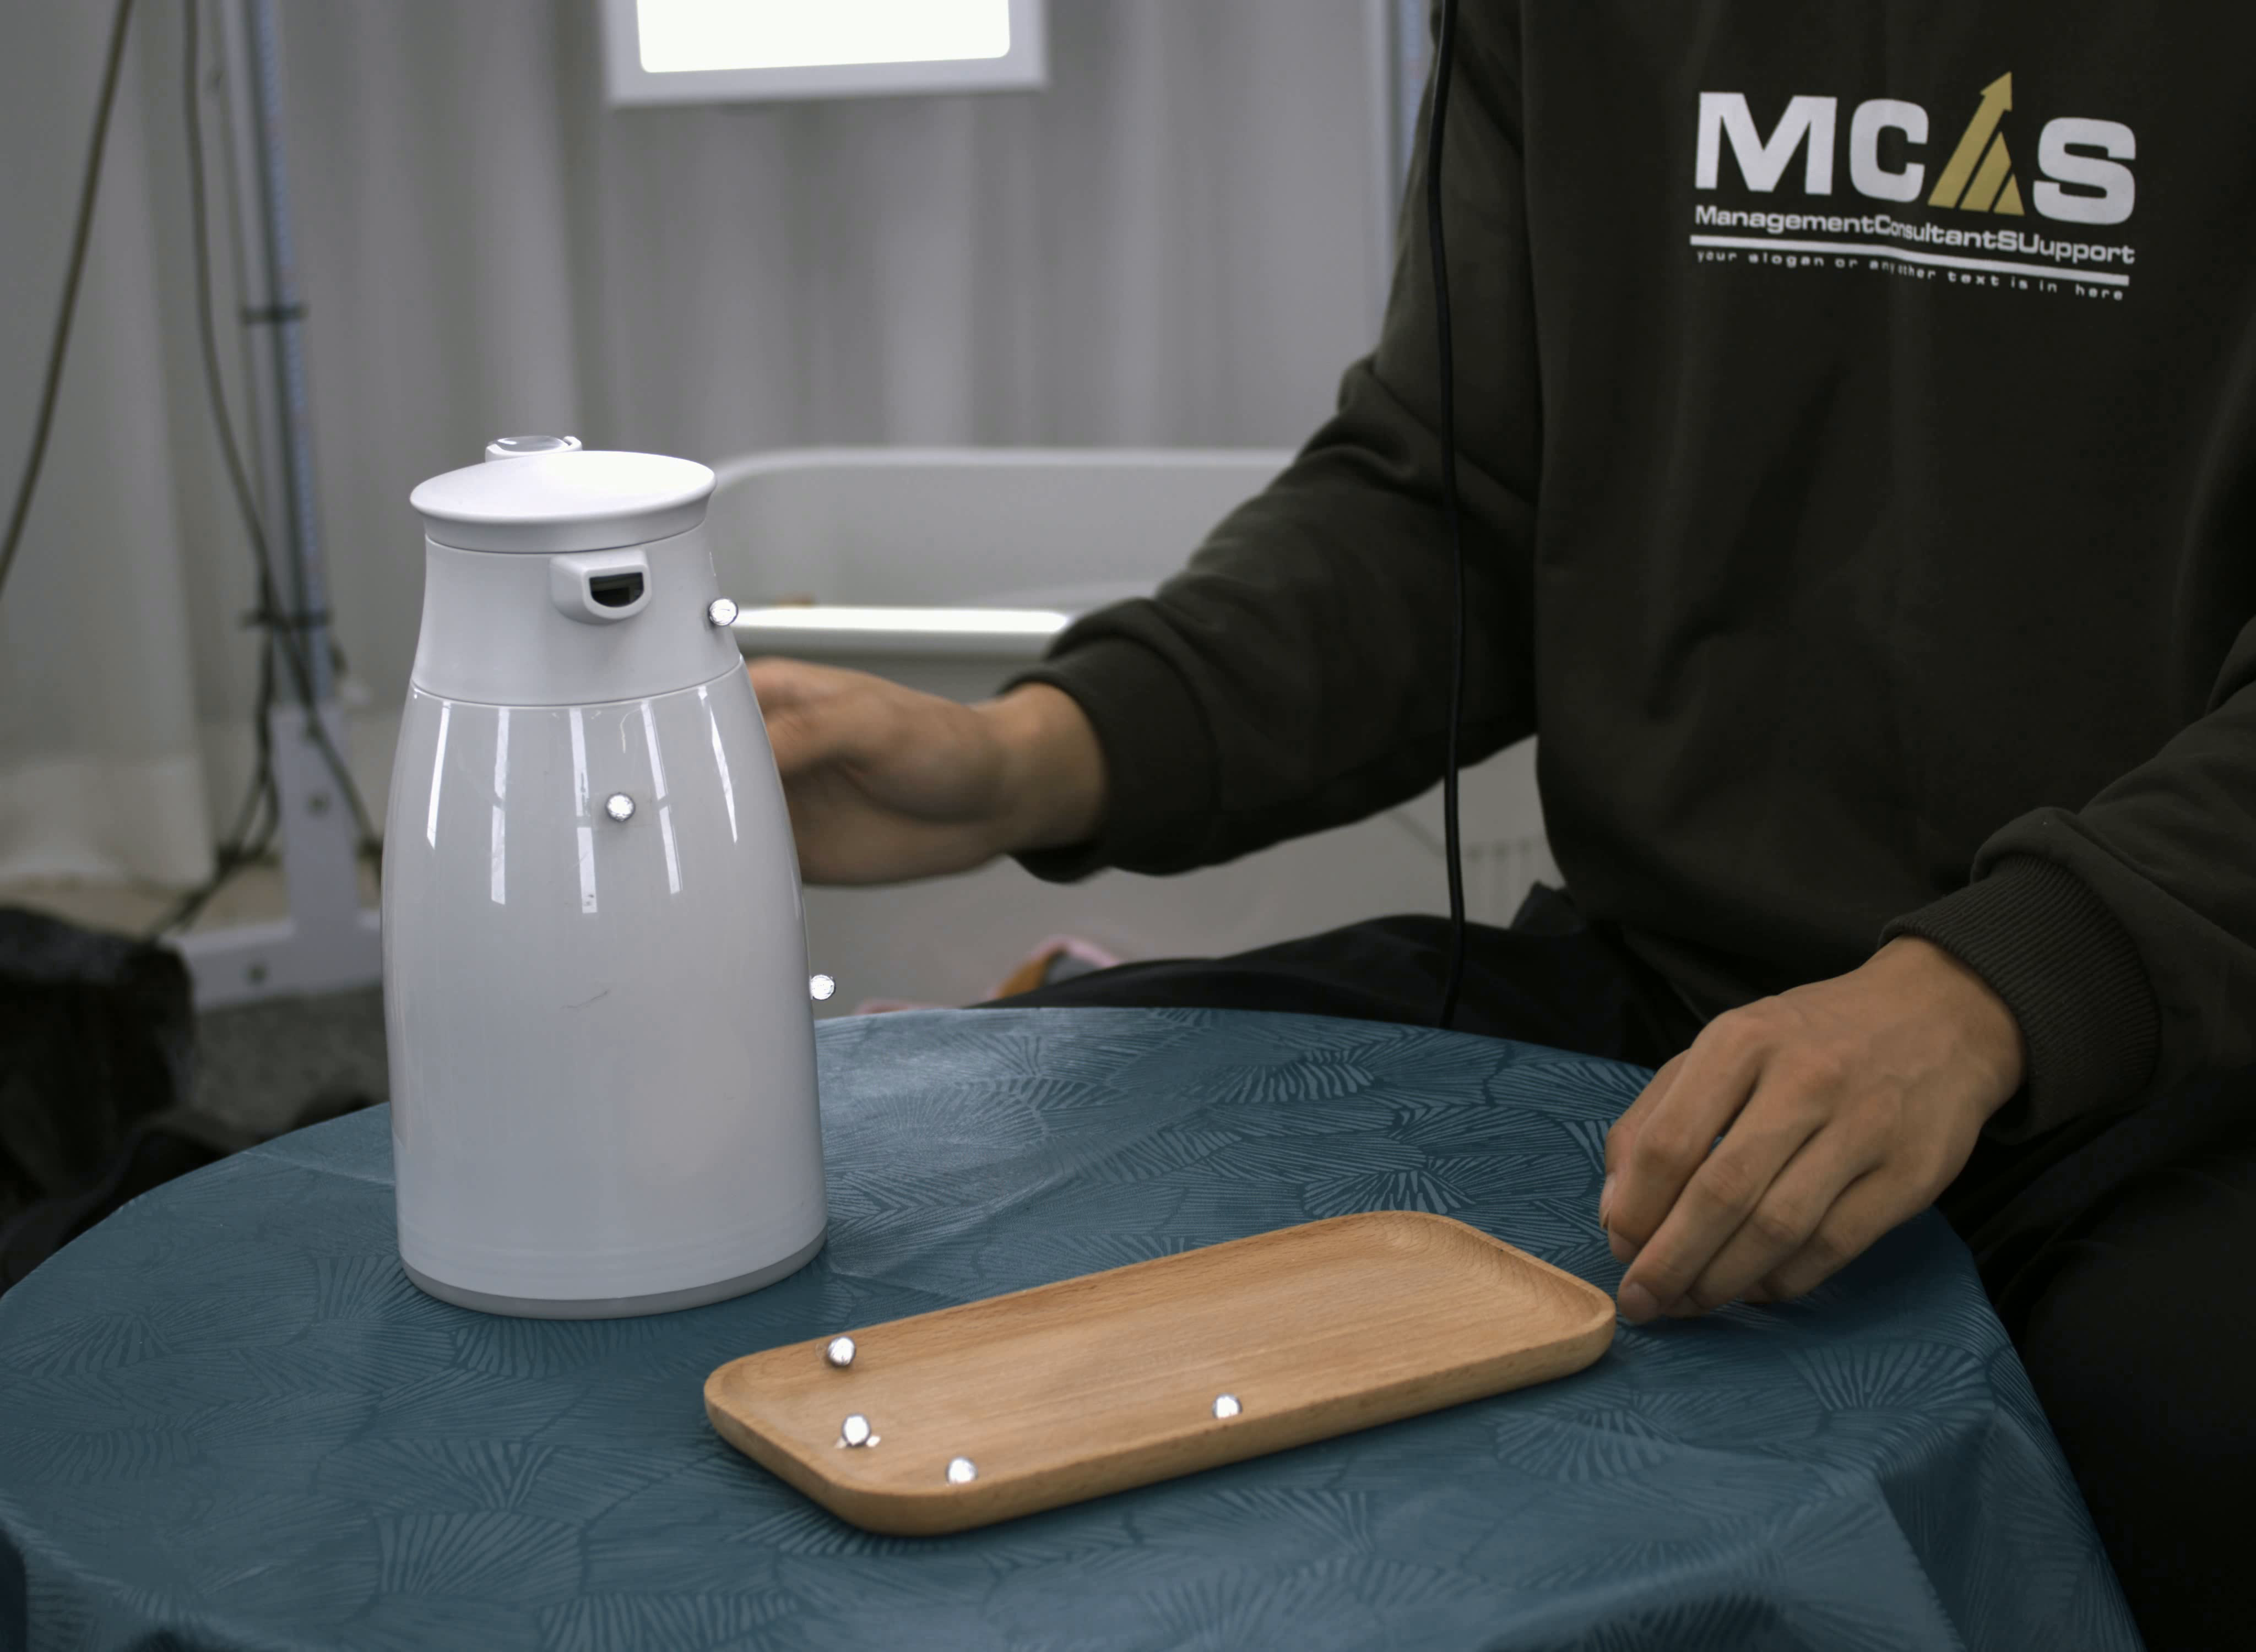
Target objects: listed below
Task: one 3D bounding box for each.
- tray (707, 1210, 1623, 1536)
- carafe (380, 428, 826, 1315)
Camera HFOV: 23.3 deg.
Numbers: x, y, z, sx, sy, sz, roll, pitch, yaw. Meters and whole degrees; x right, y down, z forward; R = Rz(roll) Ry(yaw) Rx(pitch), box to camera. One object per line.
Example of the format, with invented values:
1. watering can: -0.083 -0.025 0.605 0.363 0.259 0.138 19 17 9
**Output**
1. tray: 0.012 0.153 1.543 0.249 0.023 0.131 -10 19 -27
2. carafe: -0.171 0.005 1.675 0.132 0.248 0.169 -8 15 -19
